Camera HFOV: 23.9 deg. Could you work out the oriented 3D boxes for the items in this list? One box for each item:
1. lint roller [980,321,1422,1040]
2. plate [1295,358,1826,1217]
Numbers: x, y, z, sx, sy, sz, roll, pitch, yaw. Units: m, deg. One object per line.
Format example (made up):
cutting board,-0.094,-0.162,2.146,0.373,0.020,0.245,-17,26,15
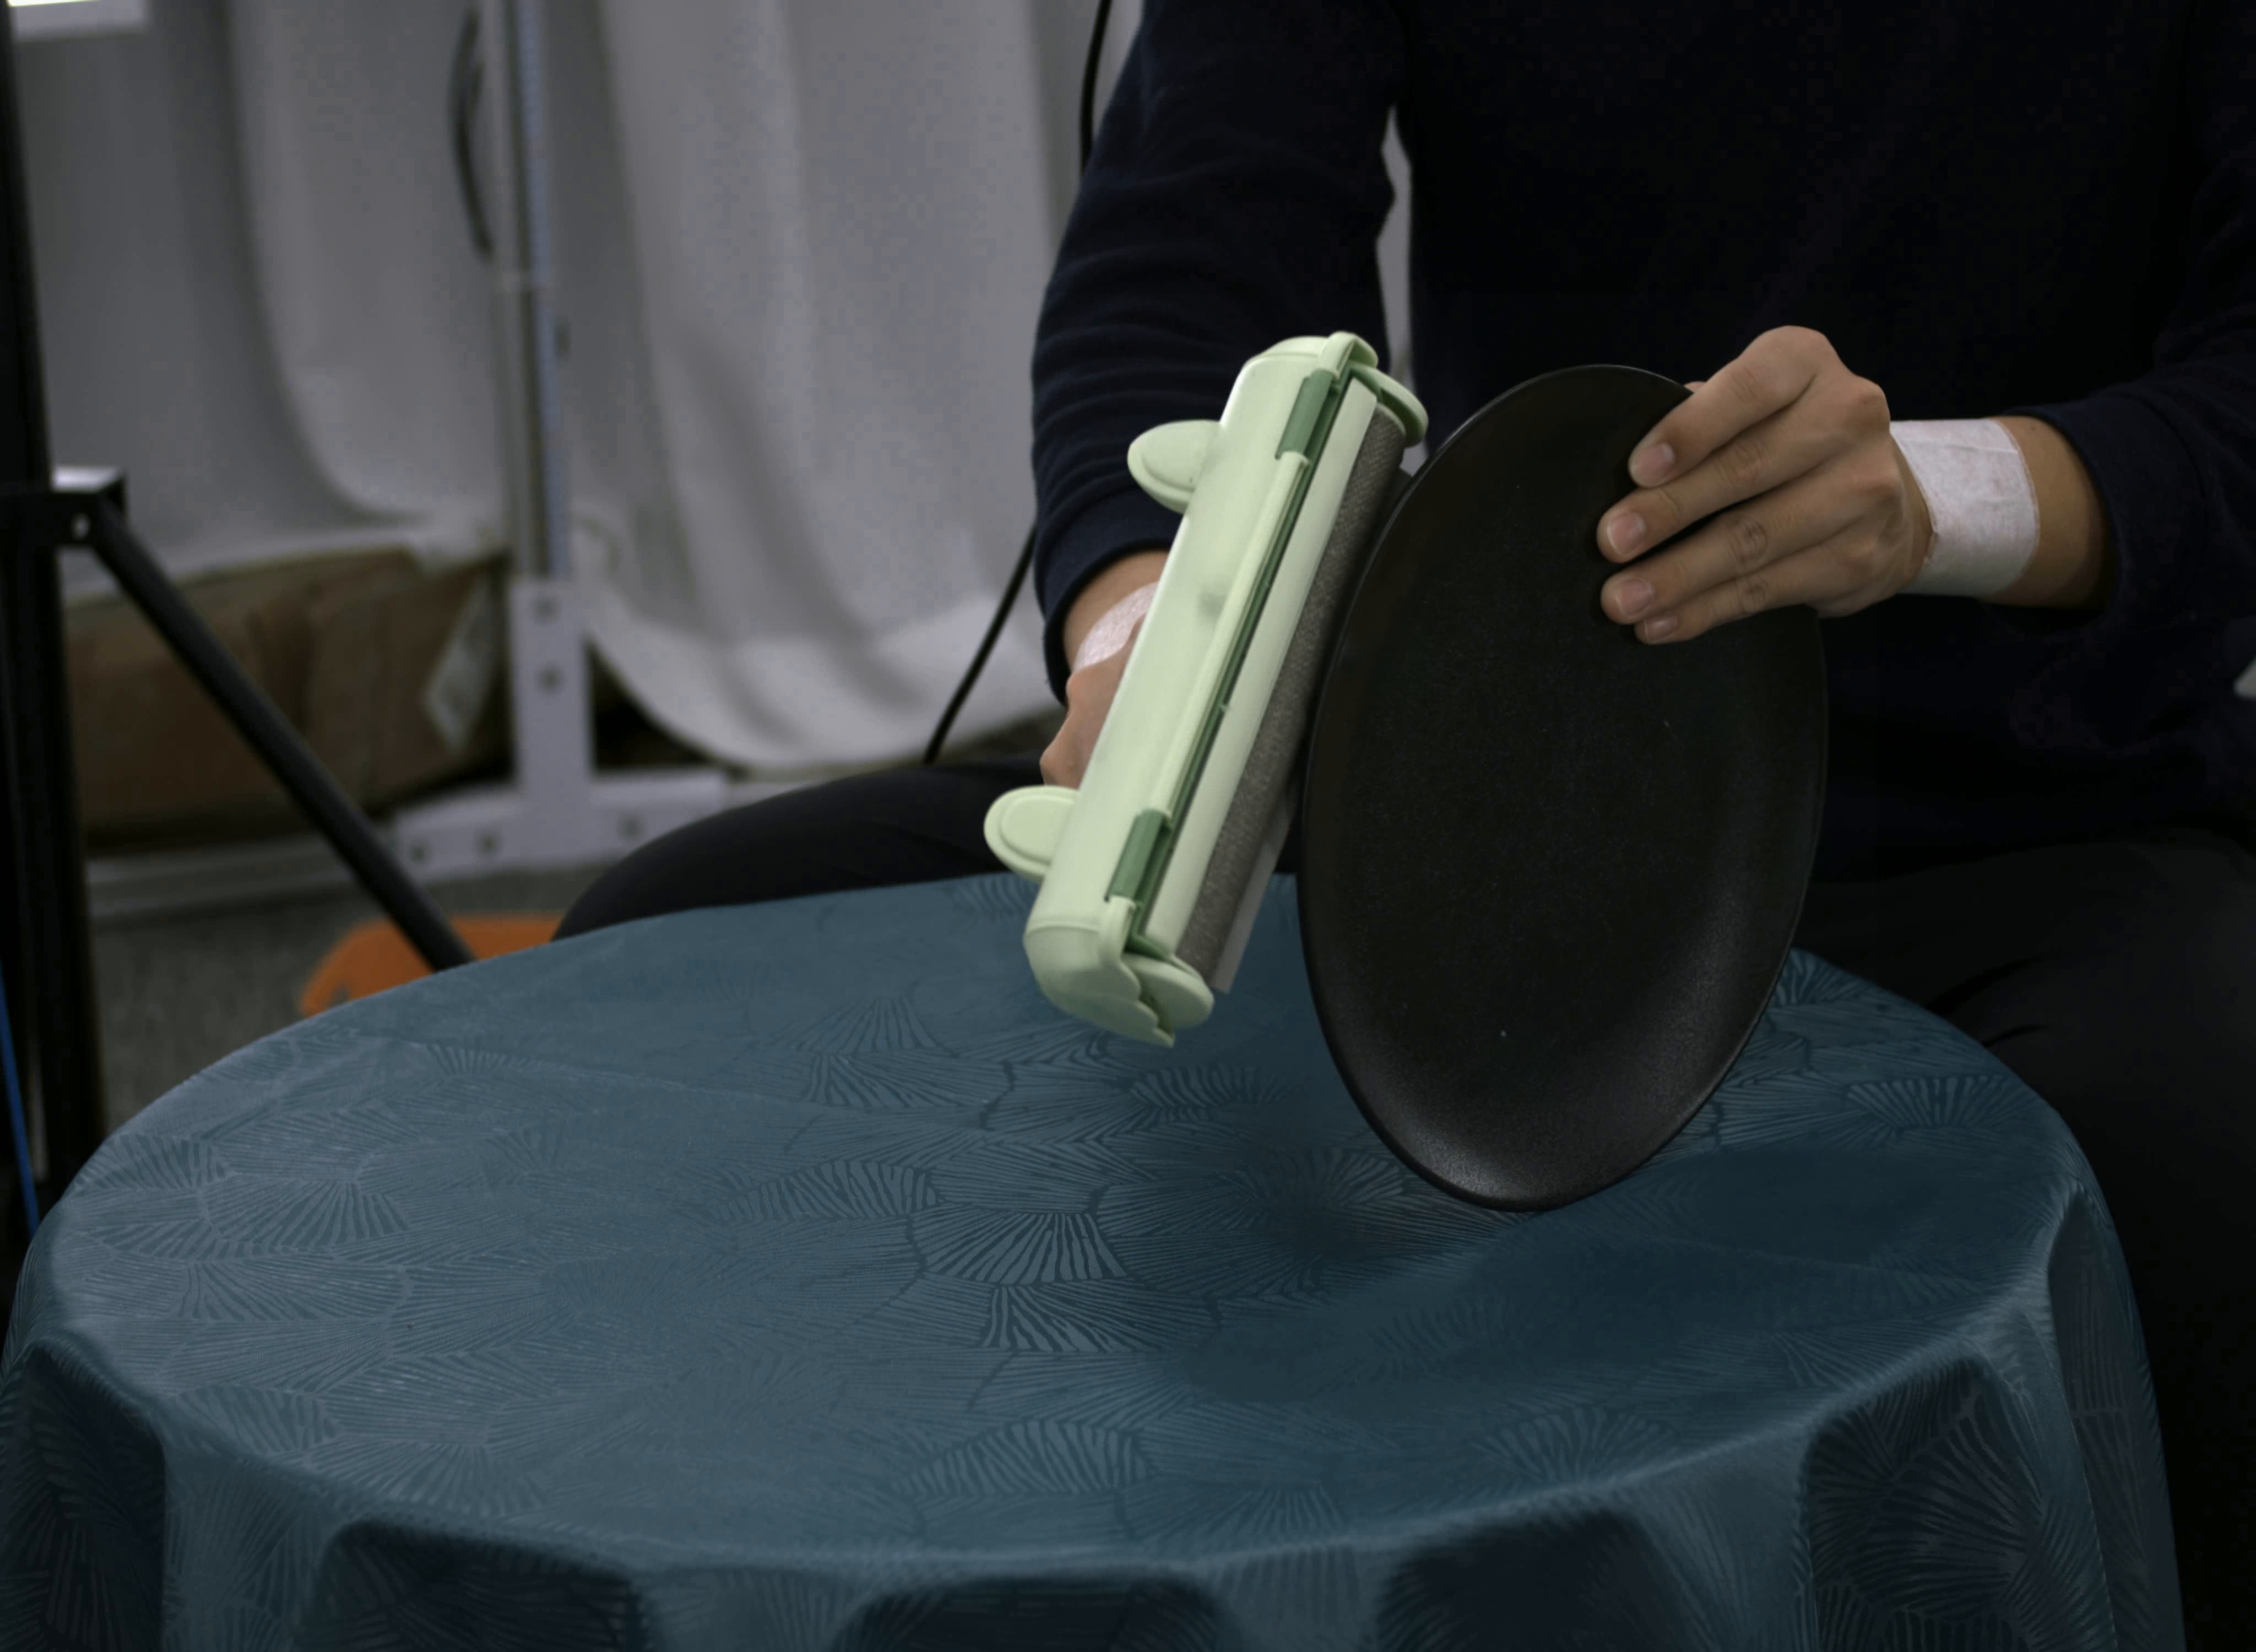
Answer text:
lint roller,0.004,-0.029,1.482,0.081,0.199,0.185,25,-21,-9
plate,0.120,-0.011,1.511,0.024,0.244,0.239,9,19,43
